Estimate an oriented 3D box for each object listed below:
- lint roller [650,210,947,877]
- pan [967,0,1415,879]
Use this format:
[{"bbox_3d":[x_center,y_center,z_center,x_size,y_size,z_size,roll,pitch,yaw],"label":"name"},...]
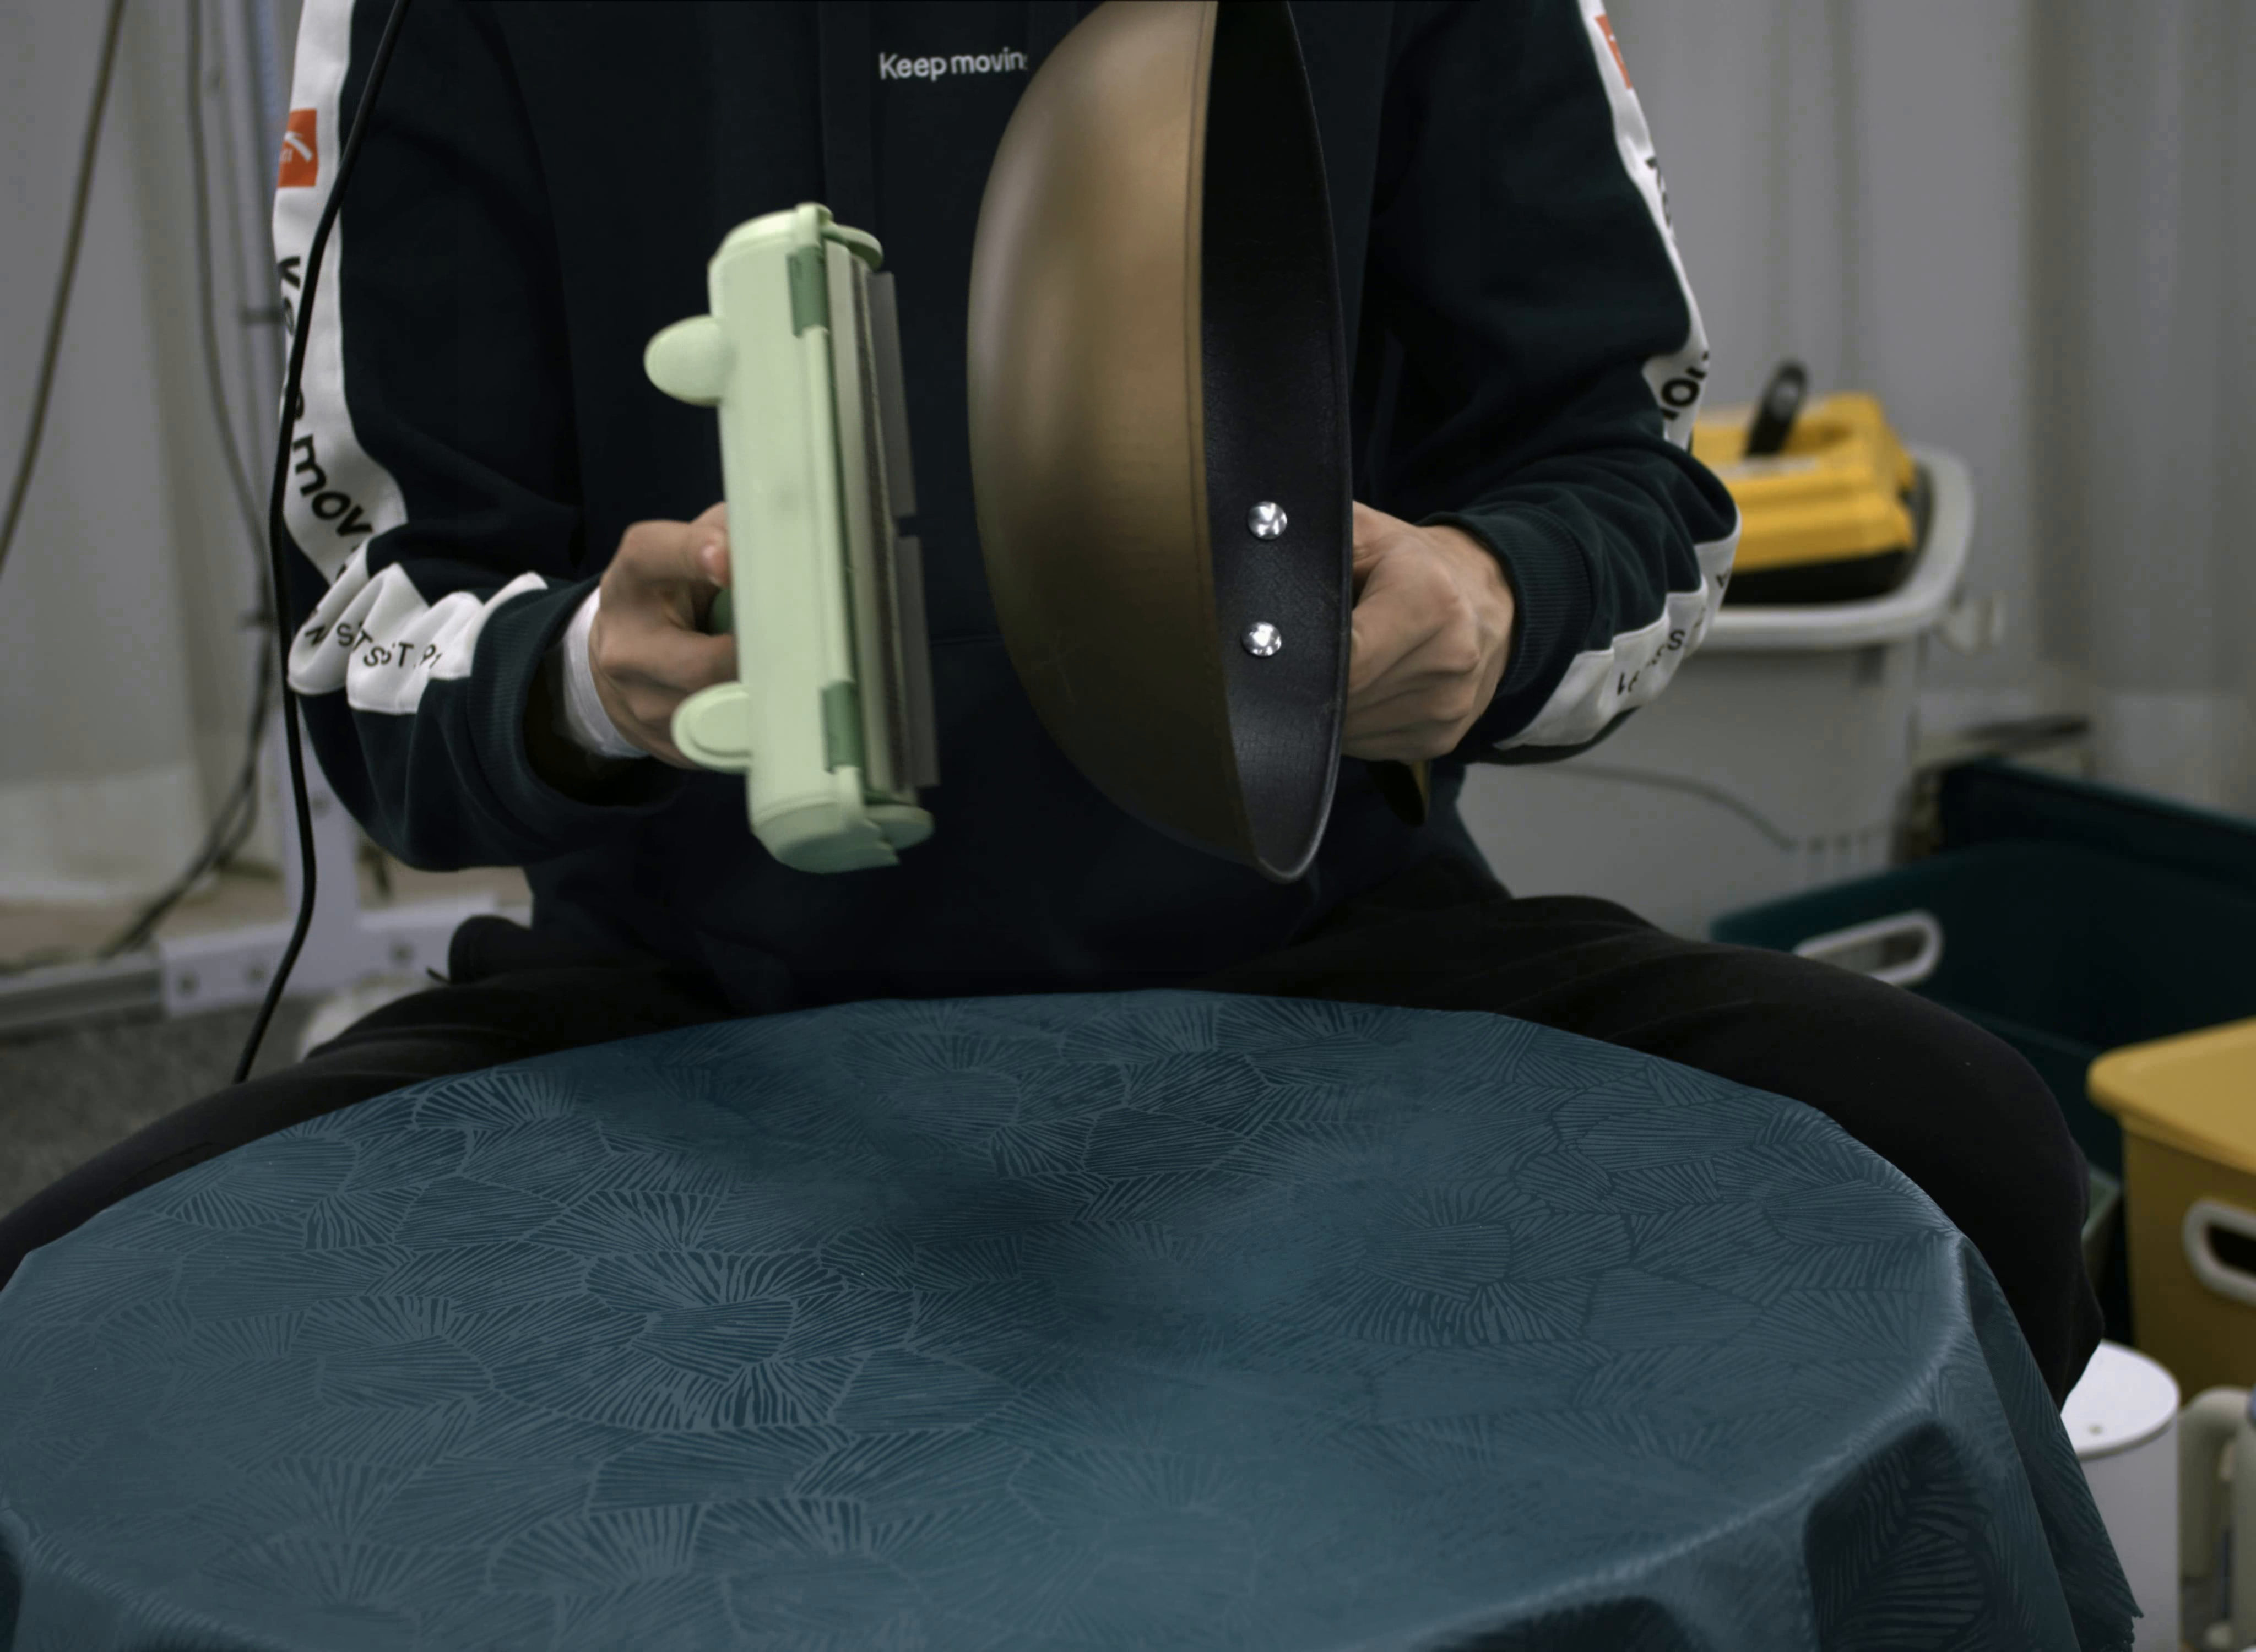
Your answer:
[{"bbox_3d":[-0.120,-0.070,1.698,0.081,0.200,0.182,1,-16,-26],"label":"lint roller"},{"bbox_3d":[0.023,-0.093,1.709,0.087,0.291,0.458,-1,-22,10],"label":"pan"}]
